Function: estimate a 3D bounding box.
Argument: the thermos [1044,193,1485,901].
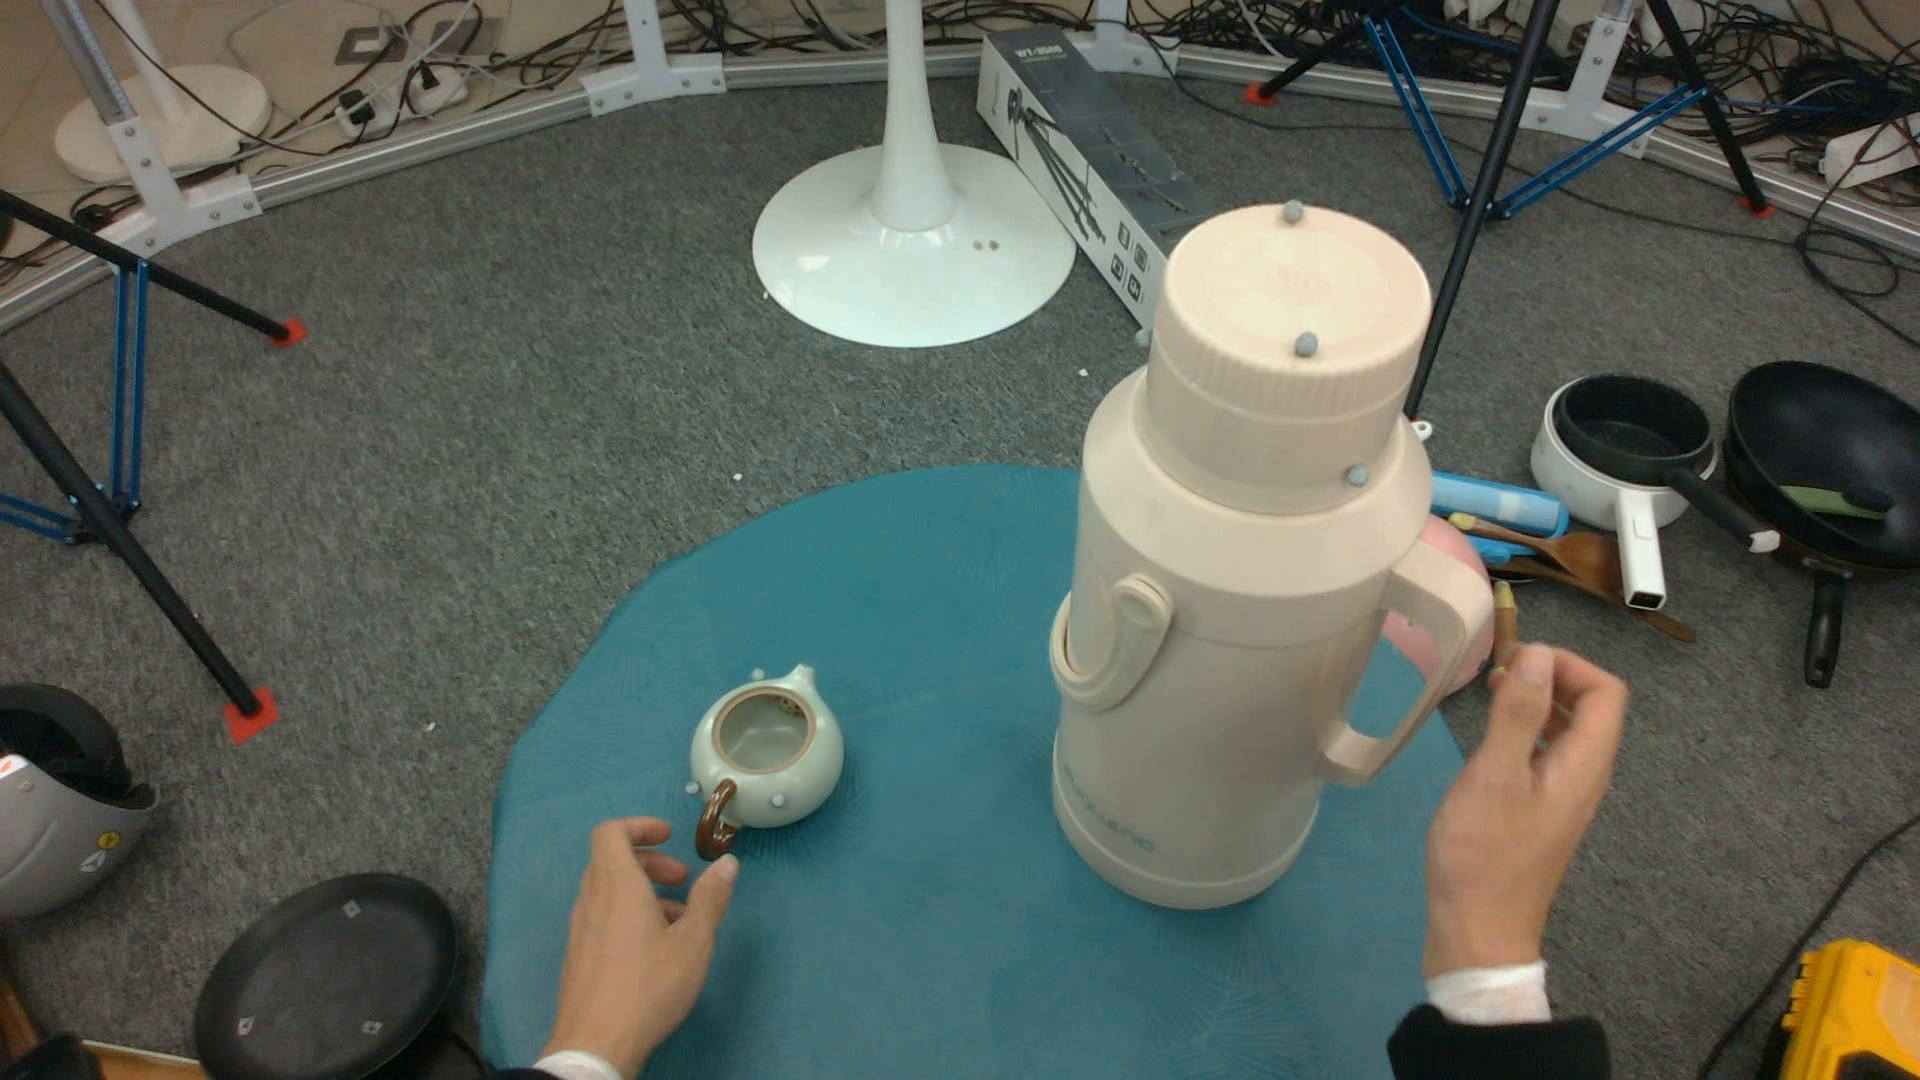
[{"bbox_3d":[0.142,0.030,0.692,0.207,0.404,0.176,31,55,24],"label":"thermos"}]

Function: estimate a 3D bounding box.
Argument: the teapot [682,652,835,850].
[{"bbox_3d":[-0.125,0.129,0.826,0.092,0.059,0.129,20,52,11],"label":"teapot"}]
